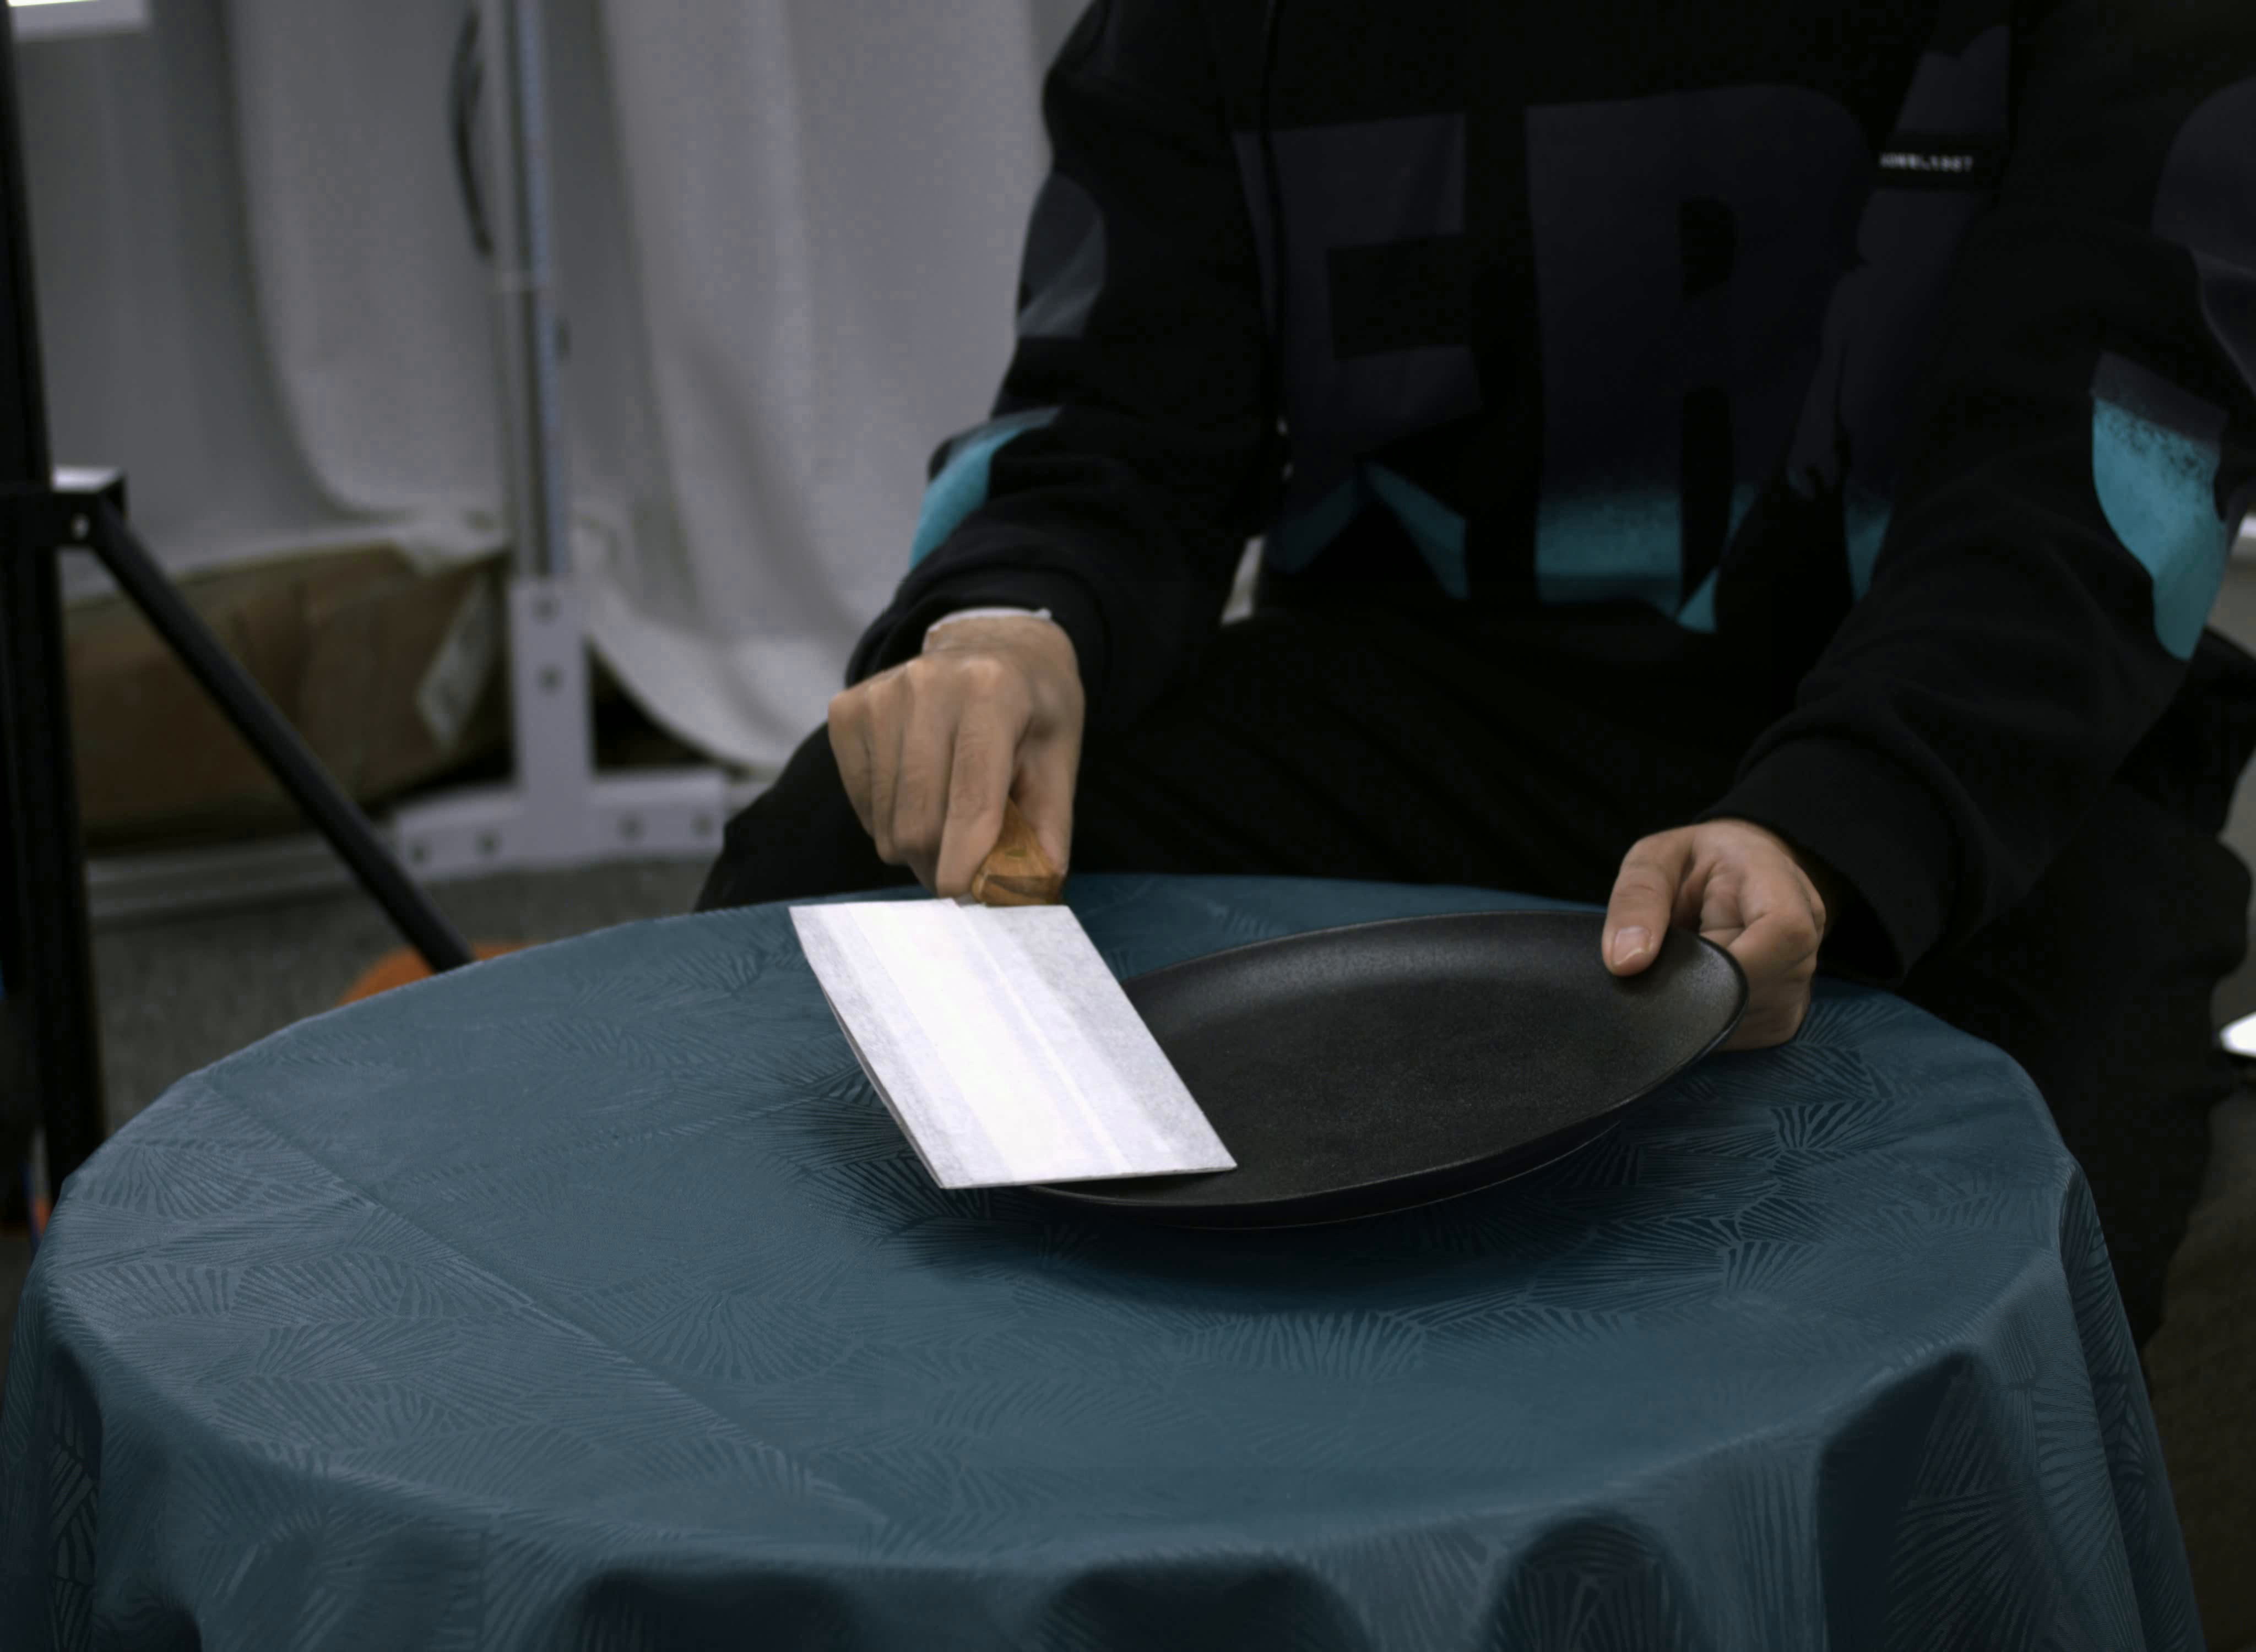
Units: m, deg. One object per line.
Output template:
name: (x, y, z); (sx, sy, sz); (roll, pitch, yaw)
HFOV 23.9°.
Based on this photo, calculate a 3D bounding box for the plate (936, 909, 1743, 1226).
plate: (0.064, 0.075, 1.575); (0.243, 0.023, 0.245); (-11, 15, 2)

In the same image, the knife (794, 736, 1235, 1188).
knife: (-0.052, 0.040, 1.648); (0.091, 0.021, 0.311); (-4, 24, -16)
